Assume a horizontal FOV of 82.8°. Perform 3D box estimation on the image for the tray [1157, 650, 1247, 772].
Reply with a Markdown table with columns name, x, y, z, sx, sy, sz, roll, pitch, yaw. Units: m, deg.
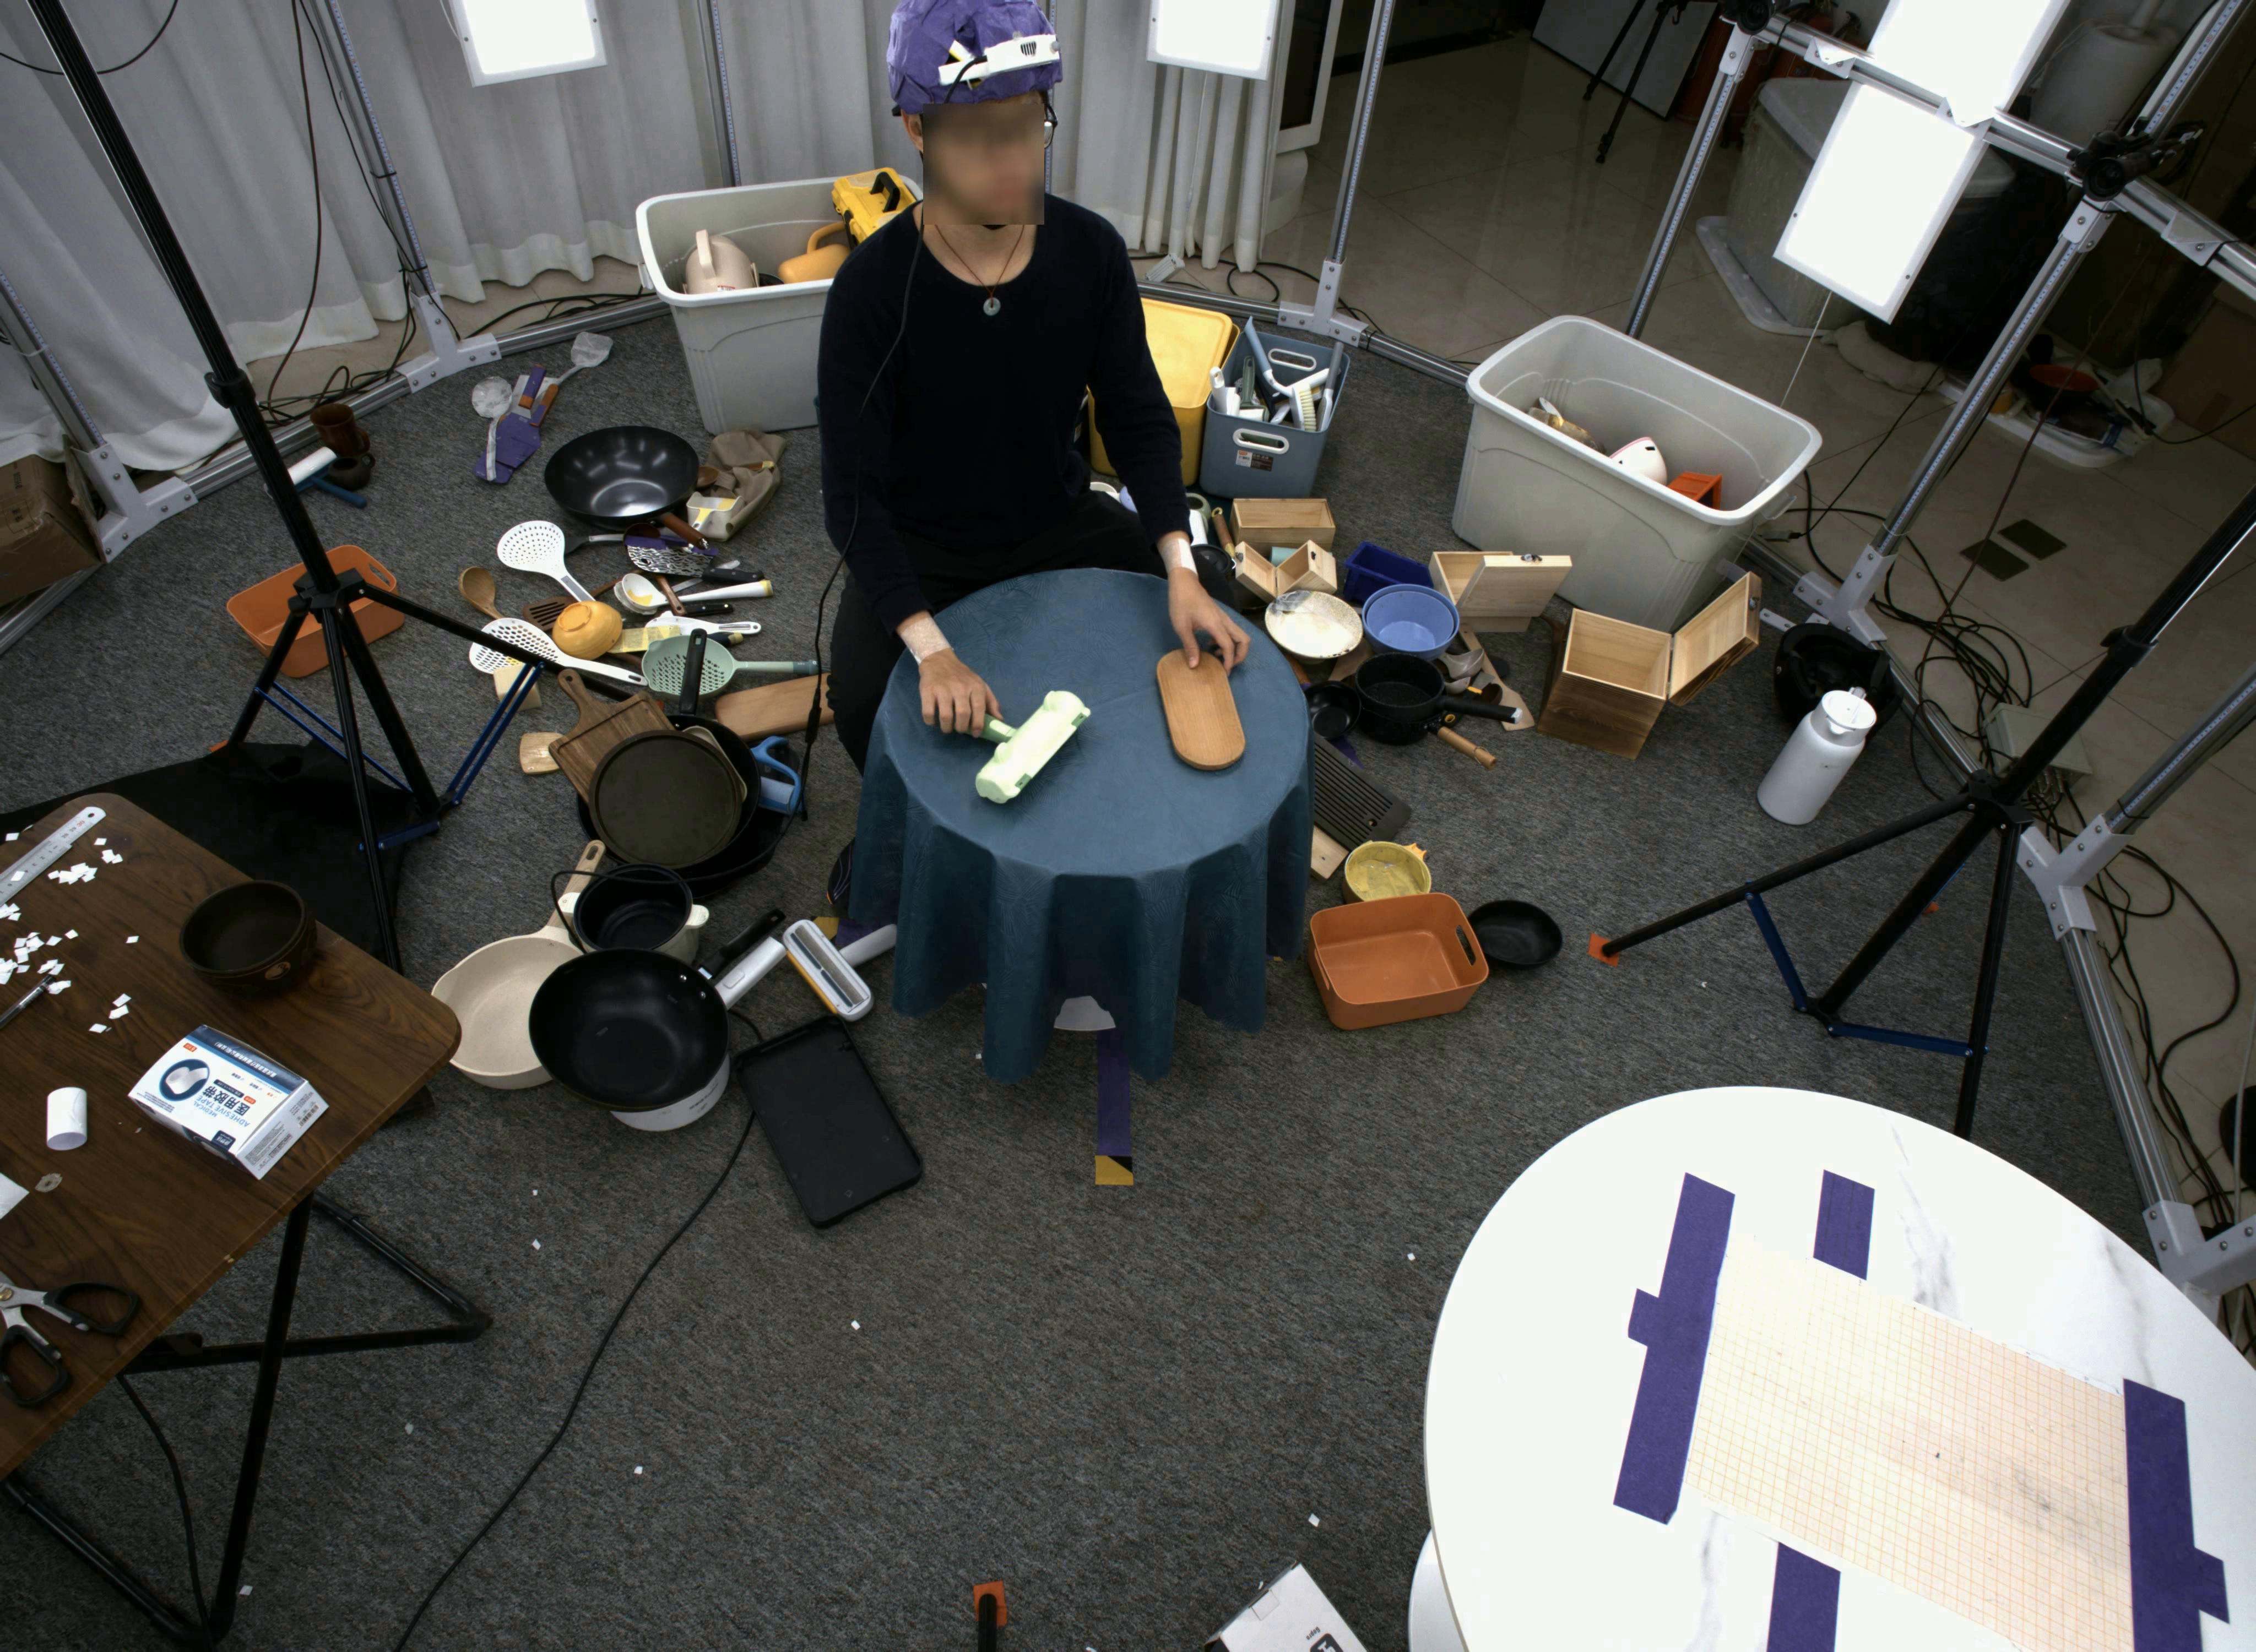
| name | x | y | z | sx | sy | sz | roll | pitch | yaw |
| --- | --- | --- | --- | --- | --- | --- | --- | --- | --- |
| tray | 0.102 | -0.164 | 1.808 | 0.101 | 0.020 | 0.237 | -6 | 51 | -7 |

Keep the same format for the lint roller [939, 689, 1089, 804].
| name | x | y | z | sx | sy | sz | roll | pitch | yaw |
| --- | --- | --- | --- | --- | --- | --- | --- | --- | --- |
| lint roller | -0.176 | -0.140 | 1.723 | 0.184 | 0.080 | 0.202 | 29 | 53 | 14 |
